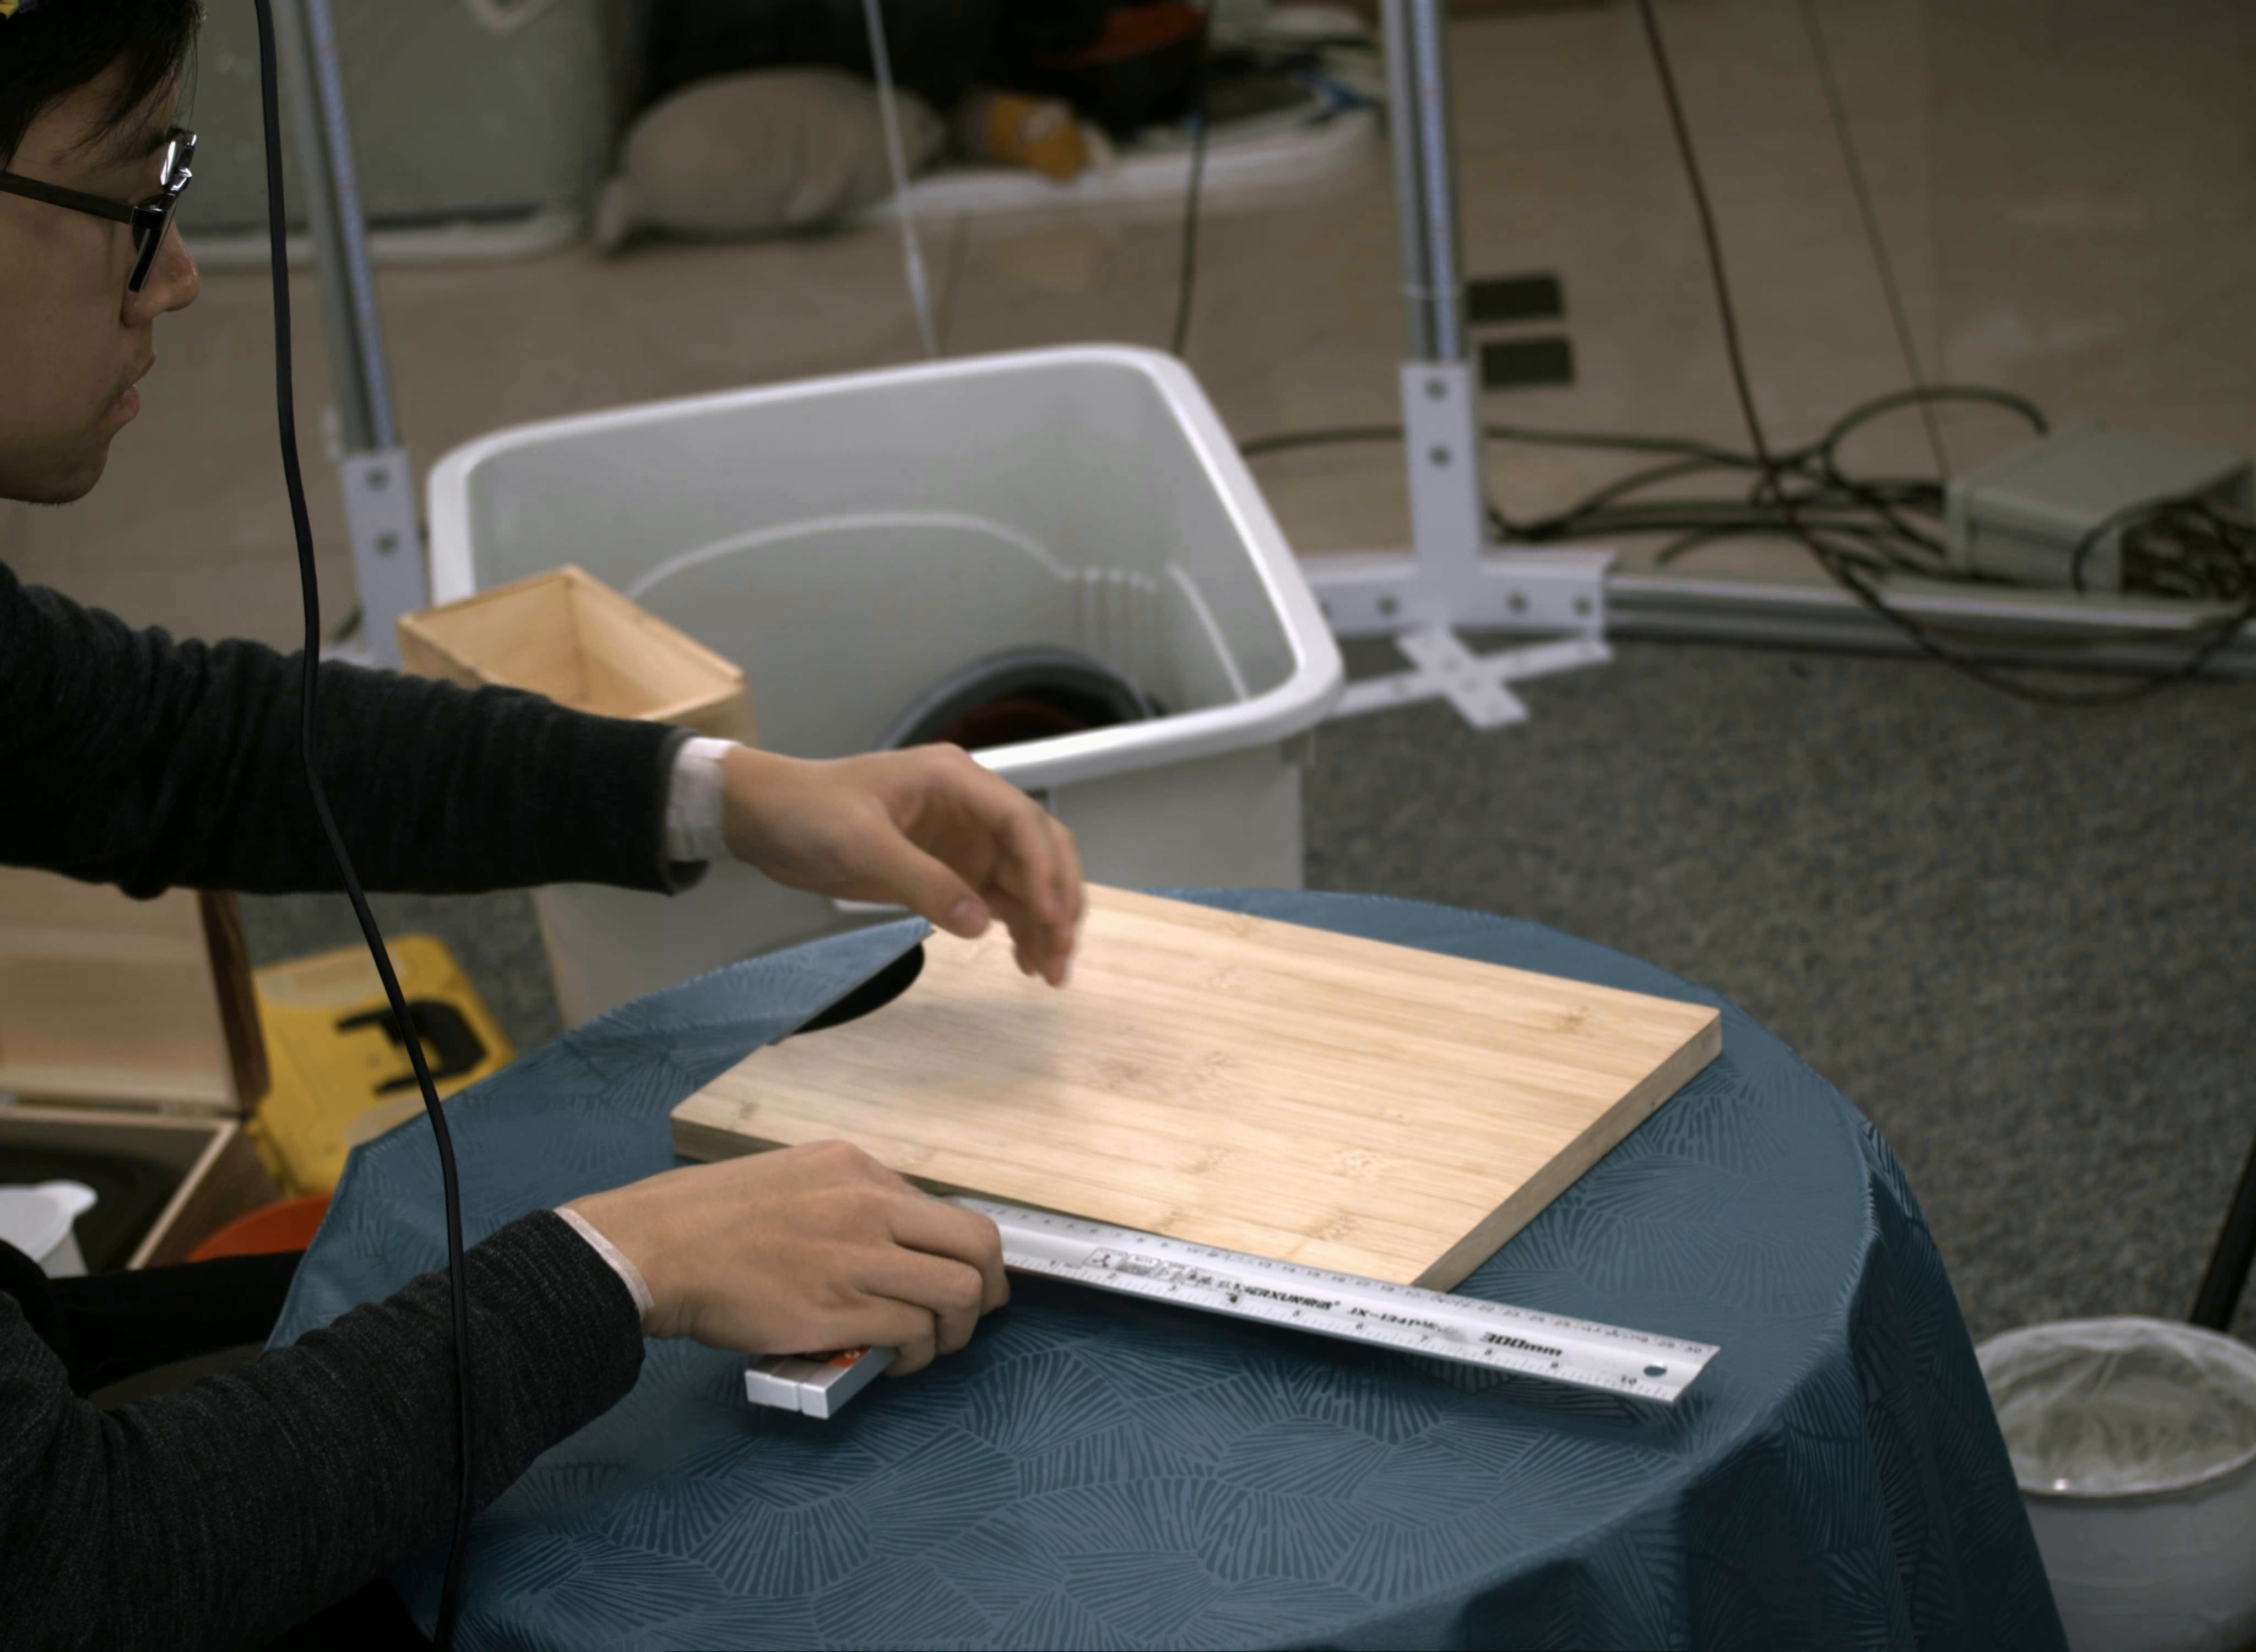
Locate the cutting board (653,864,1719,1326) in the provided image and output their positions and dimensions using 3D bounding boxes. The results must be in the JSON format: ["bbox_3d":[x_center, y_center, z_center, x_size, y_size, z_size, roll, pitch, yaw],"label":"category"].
[{"bbox_3d":[0.022,0.099,2.209,0.347,0.024,0.248,11,30,32],"label":"cutting board"}]

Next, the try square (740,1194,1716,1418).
[{"bbox_3d":[0.033,0.189,1.989,0.311,0.016,0.150,9,29,29],"label":"try square"}]
